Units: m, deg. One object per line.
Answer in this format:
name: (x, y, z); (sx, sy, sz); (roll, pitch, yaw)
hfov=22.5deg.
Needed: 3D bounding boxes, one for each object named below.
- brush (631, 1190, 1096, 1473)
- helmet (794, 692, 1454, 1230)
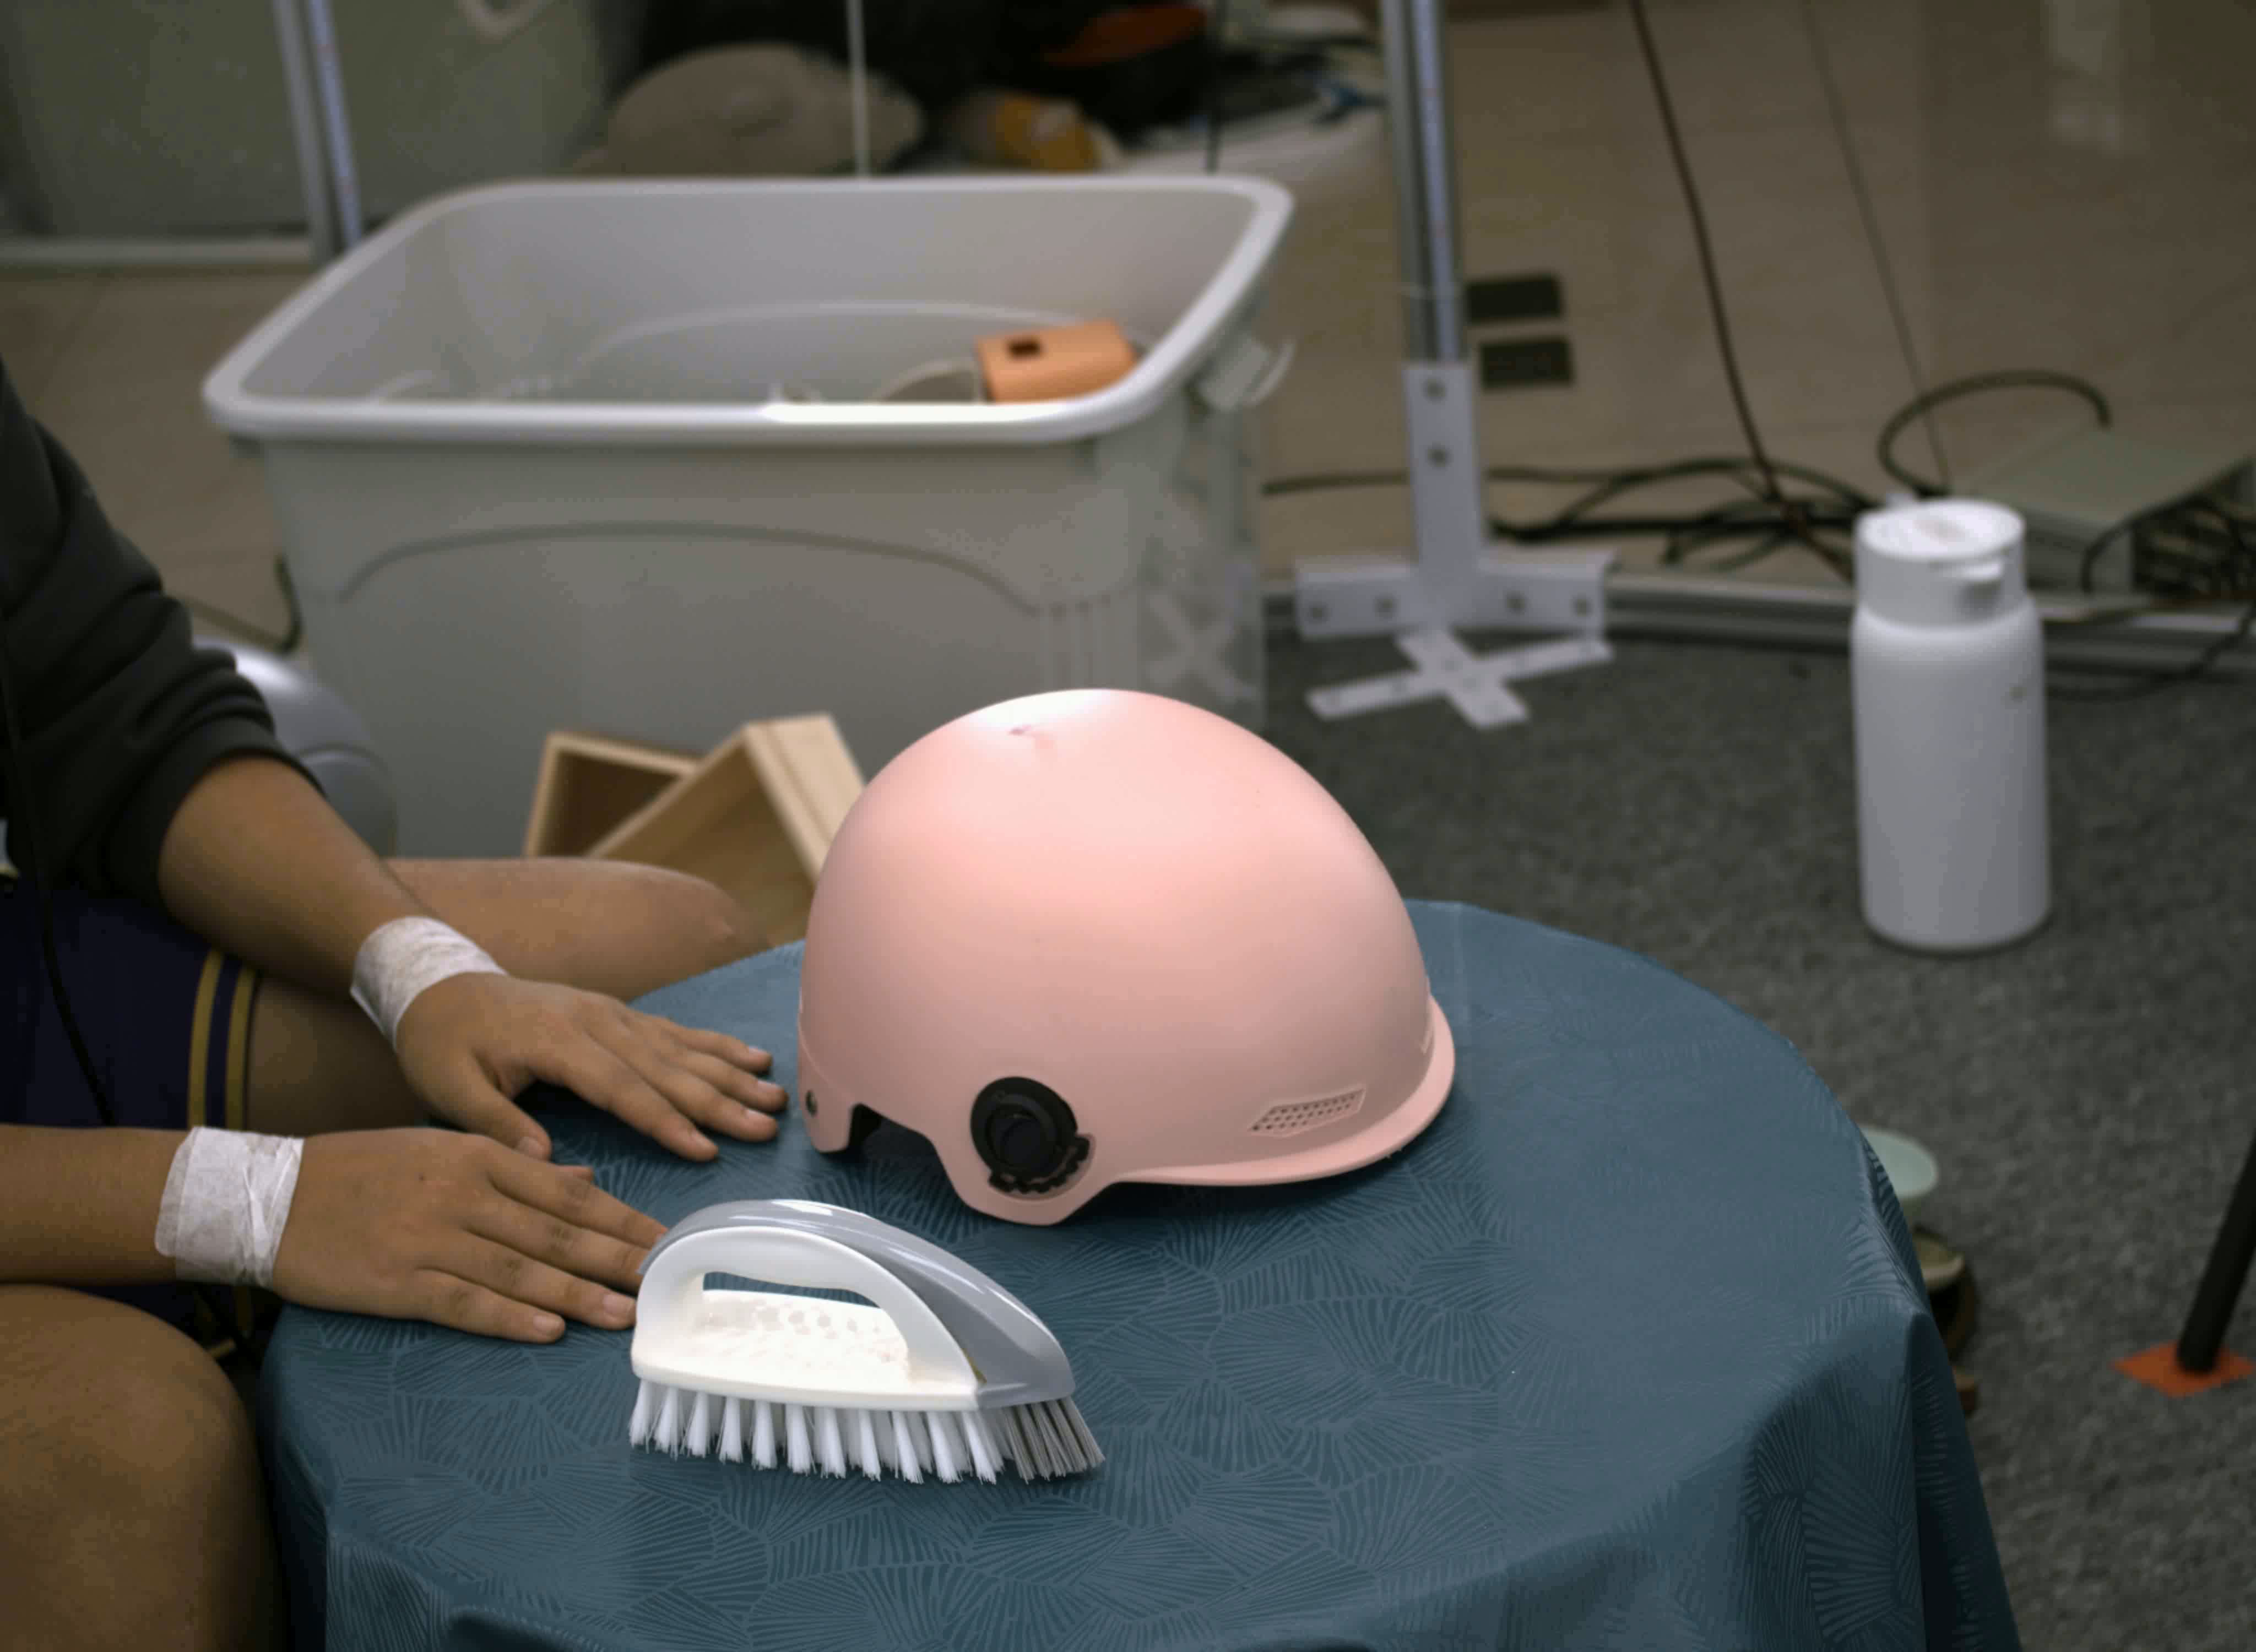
brush: (-0.094, 0.174, 1.985); (0.175, 0.096, 0.060); (8, 31, 24)
helmet: (-0.004, 0.037, 2.187); (0.264, 0.161, 0.231); (14, 31, 29)
